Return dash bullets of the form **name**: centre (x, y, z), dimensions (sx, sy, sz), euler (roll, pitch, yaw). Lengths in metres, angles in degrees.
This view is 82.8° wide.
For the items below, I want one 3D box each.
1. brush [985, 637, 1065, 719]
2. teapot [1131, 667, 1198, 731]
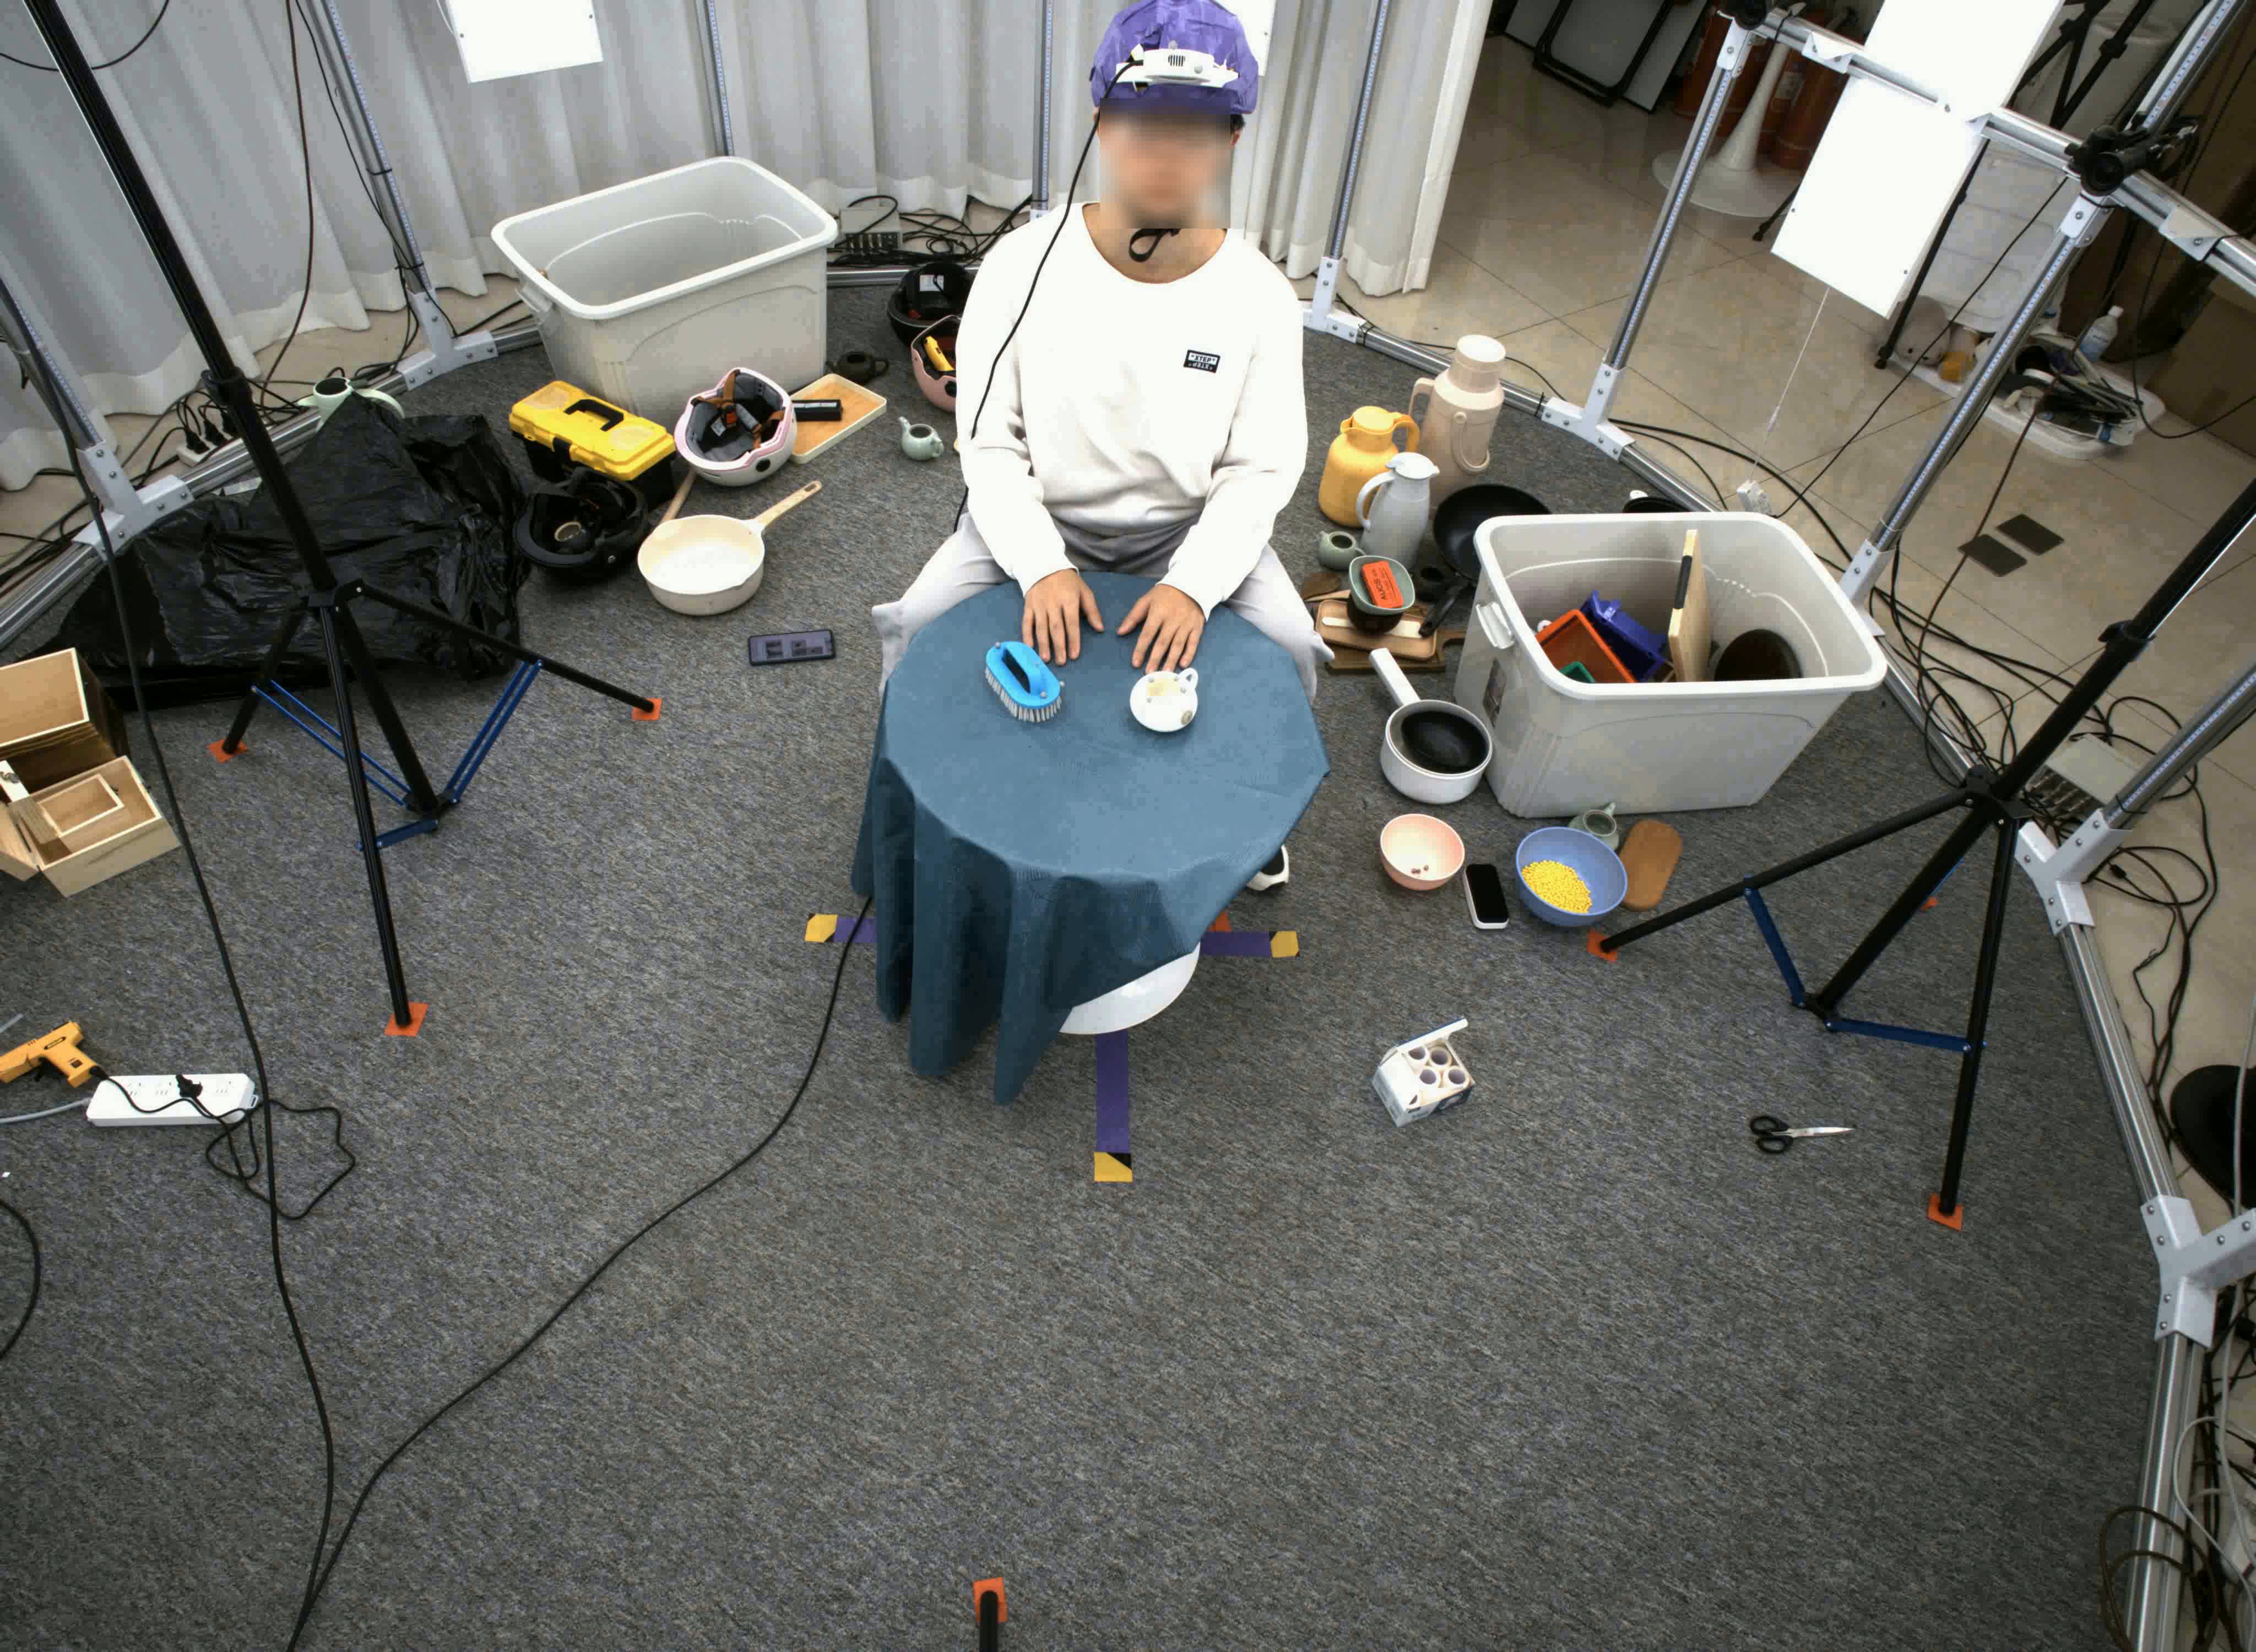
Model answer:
- **brush**: centre (-0.147, -0.218, 1.800), dimensions (0.084, 0.062, 0.145), euler (-24, 54, -17)
- **teapot**: centre (0.057, -0.180, 1.789), dimensions (0.094, 0.055, 0.129), euler (27, 51, 23)
